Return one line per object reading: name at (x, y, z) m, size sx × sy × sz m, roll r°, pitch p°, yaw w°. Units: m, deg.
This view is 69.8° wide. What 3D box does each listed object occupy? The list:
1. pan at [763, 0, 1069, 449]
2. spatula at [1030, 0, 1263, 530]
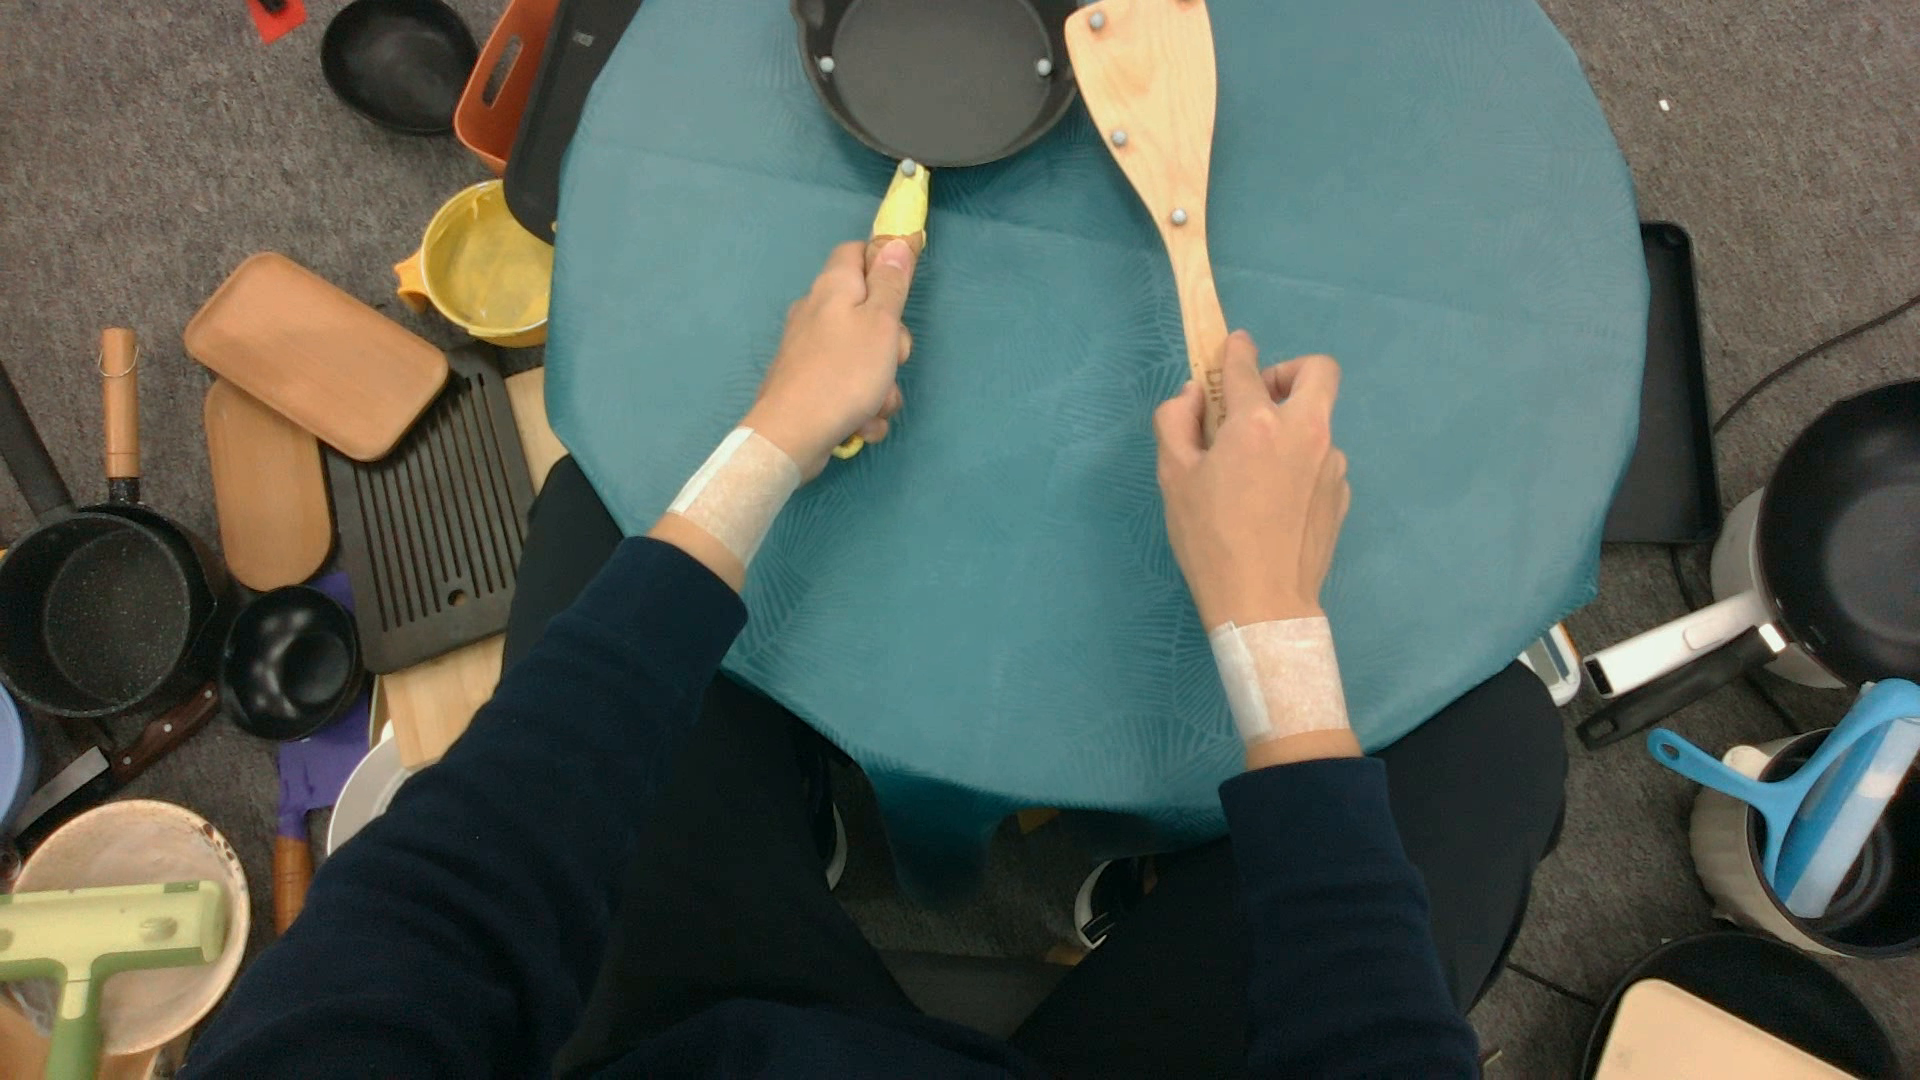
pan at (-0.042, -0.198, 0.730) m, size 0.169 × 0.049 × 0.325 m, roll 13°, pitch 75°, yaw -1°
spatula at (0.102, -0.158, 0.702) m, size 0.080 × 0.016 × 0.328 m, roll -12°, pitch 70°, yaw 1°
